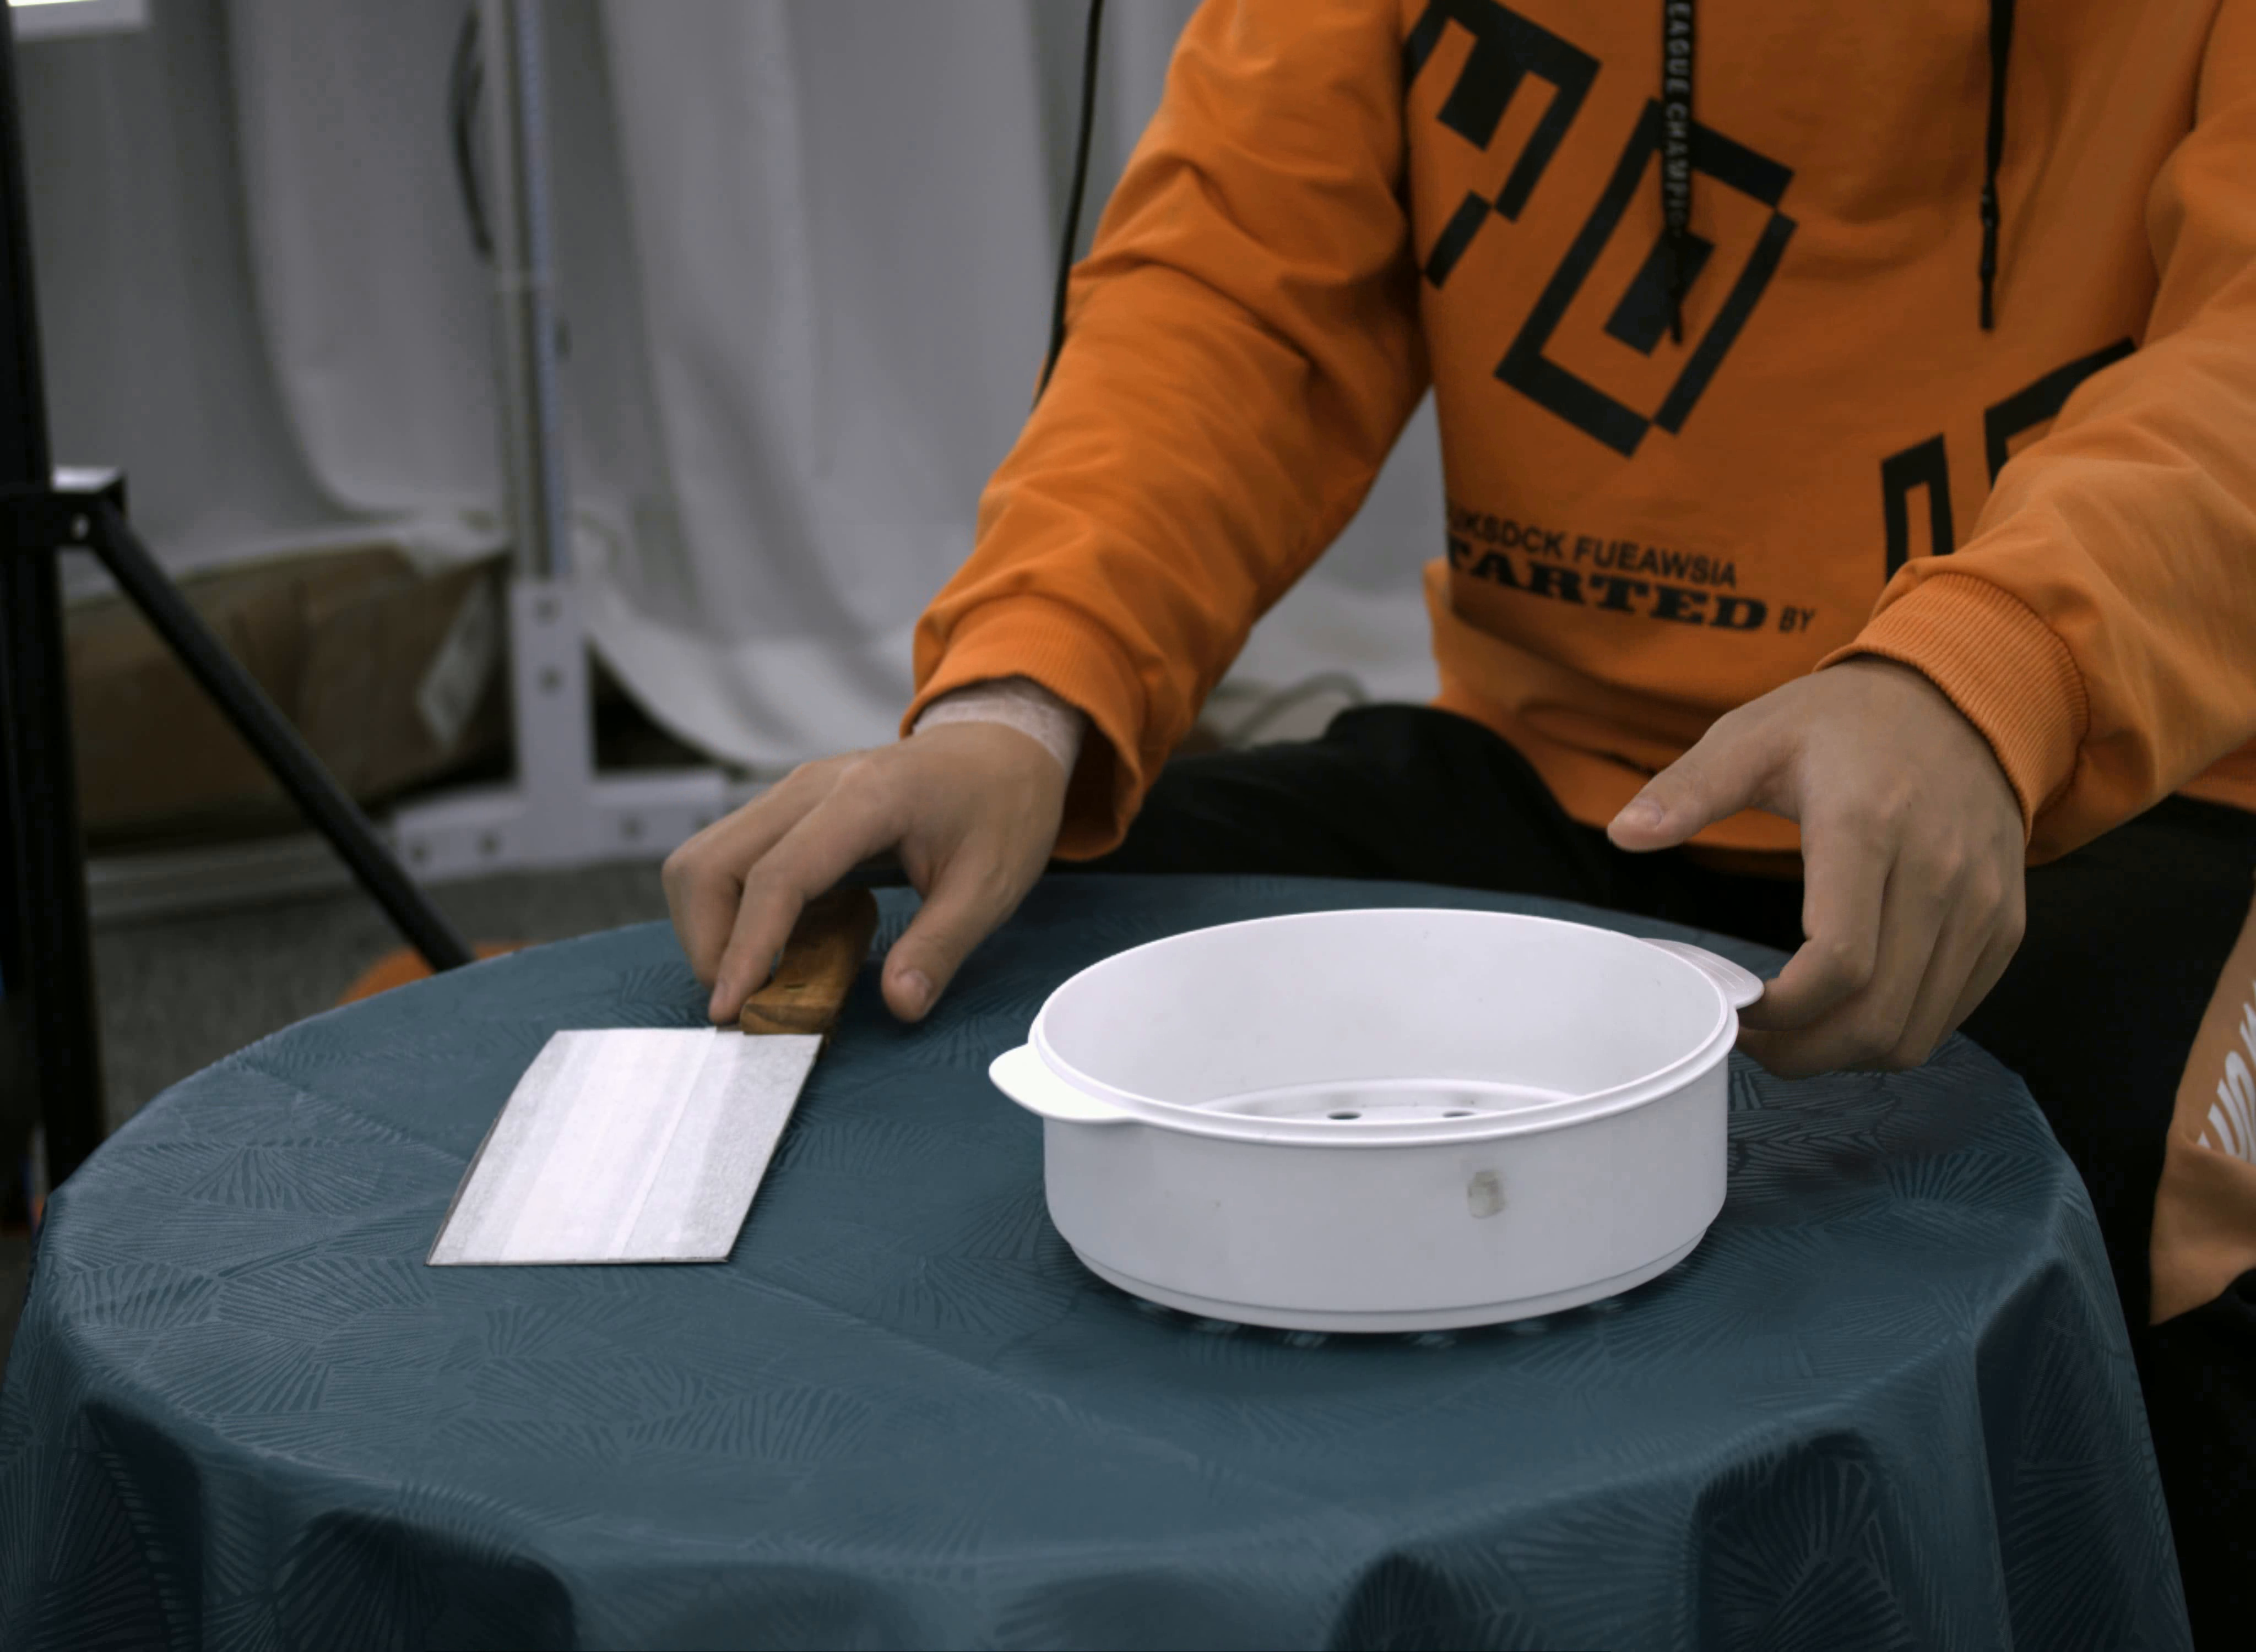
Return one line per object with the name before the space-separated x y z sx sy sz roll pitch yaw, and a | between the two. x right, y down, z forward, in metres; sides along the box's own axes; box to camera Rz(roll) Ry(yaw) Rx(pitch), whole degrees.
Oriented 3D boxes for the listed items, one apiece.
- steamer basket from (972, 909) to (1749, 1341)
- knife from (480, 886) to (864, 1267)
steamer basket | 0.069 0.085 1.503 0.226 0.069 0.206 -11 17 -21
knife | -0.141 0.077 1.665 0.093 0.021 0.305 -2 18 7
